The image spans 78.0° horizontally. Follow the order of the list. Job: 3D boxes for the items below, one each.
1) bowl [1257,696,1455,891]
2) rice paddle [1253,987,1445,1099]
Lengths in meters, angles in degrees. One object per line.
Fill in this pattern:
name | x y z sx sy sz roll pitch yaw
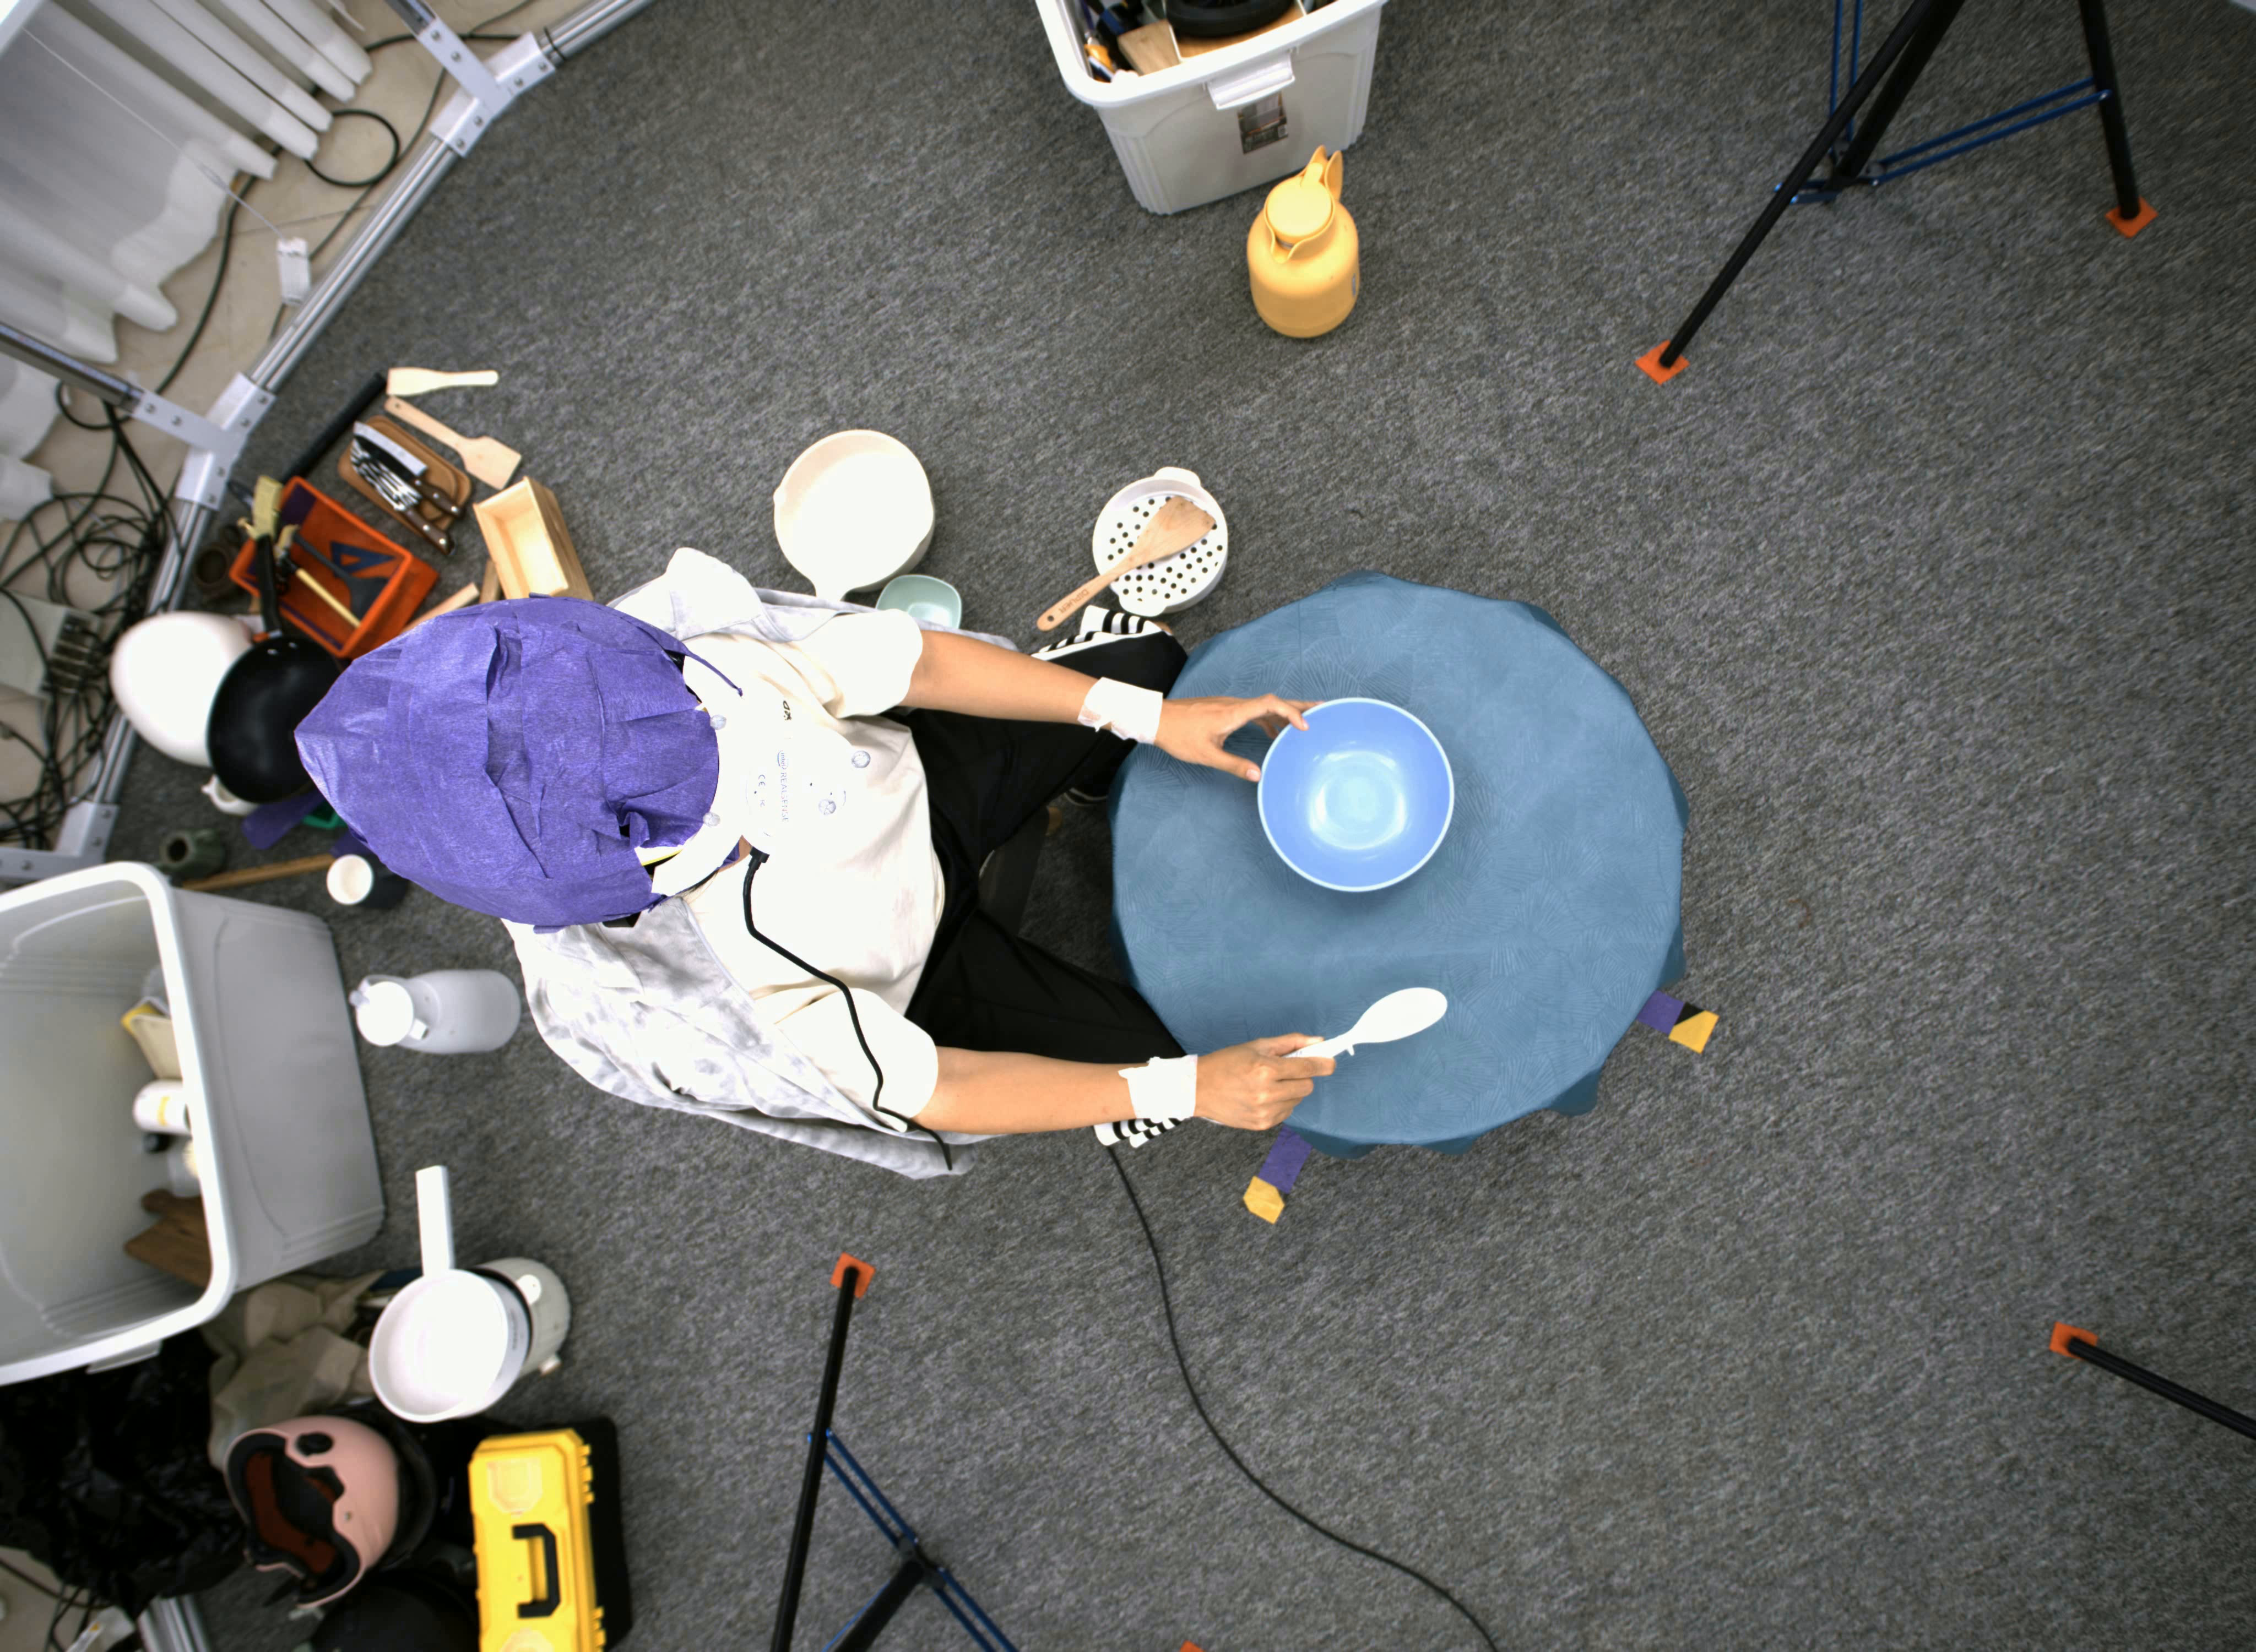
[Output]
bowl | 0.233 -0.030 1.422 0.197 0.095 0.196 -1 87 8
rice paddle | 0.217 0.205 1.351 0.204 0.068 0.030 -25 117 -8
